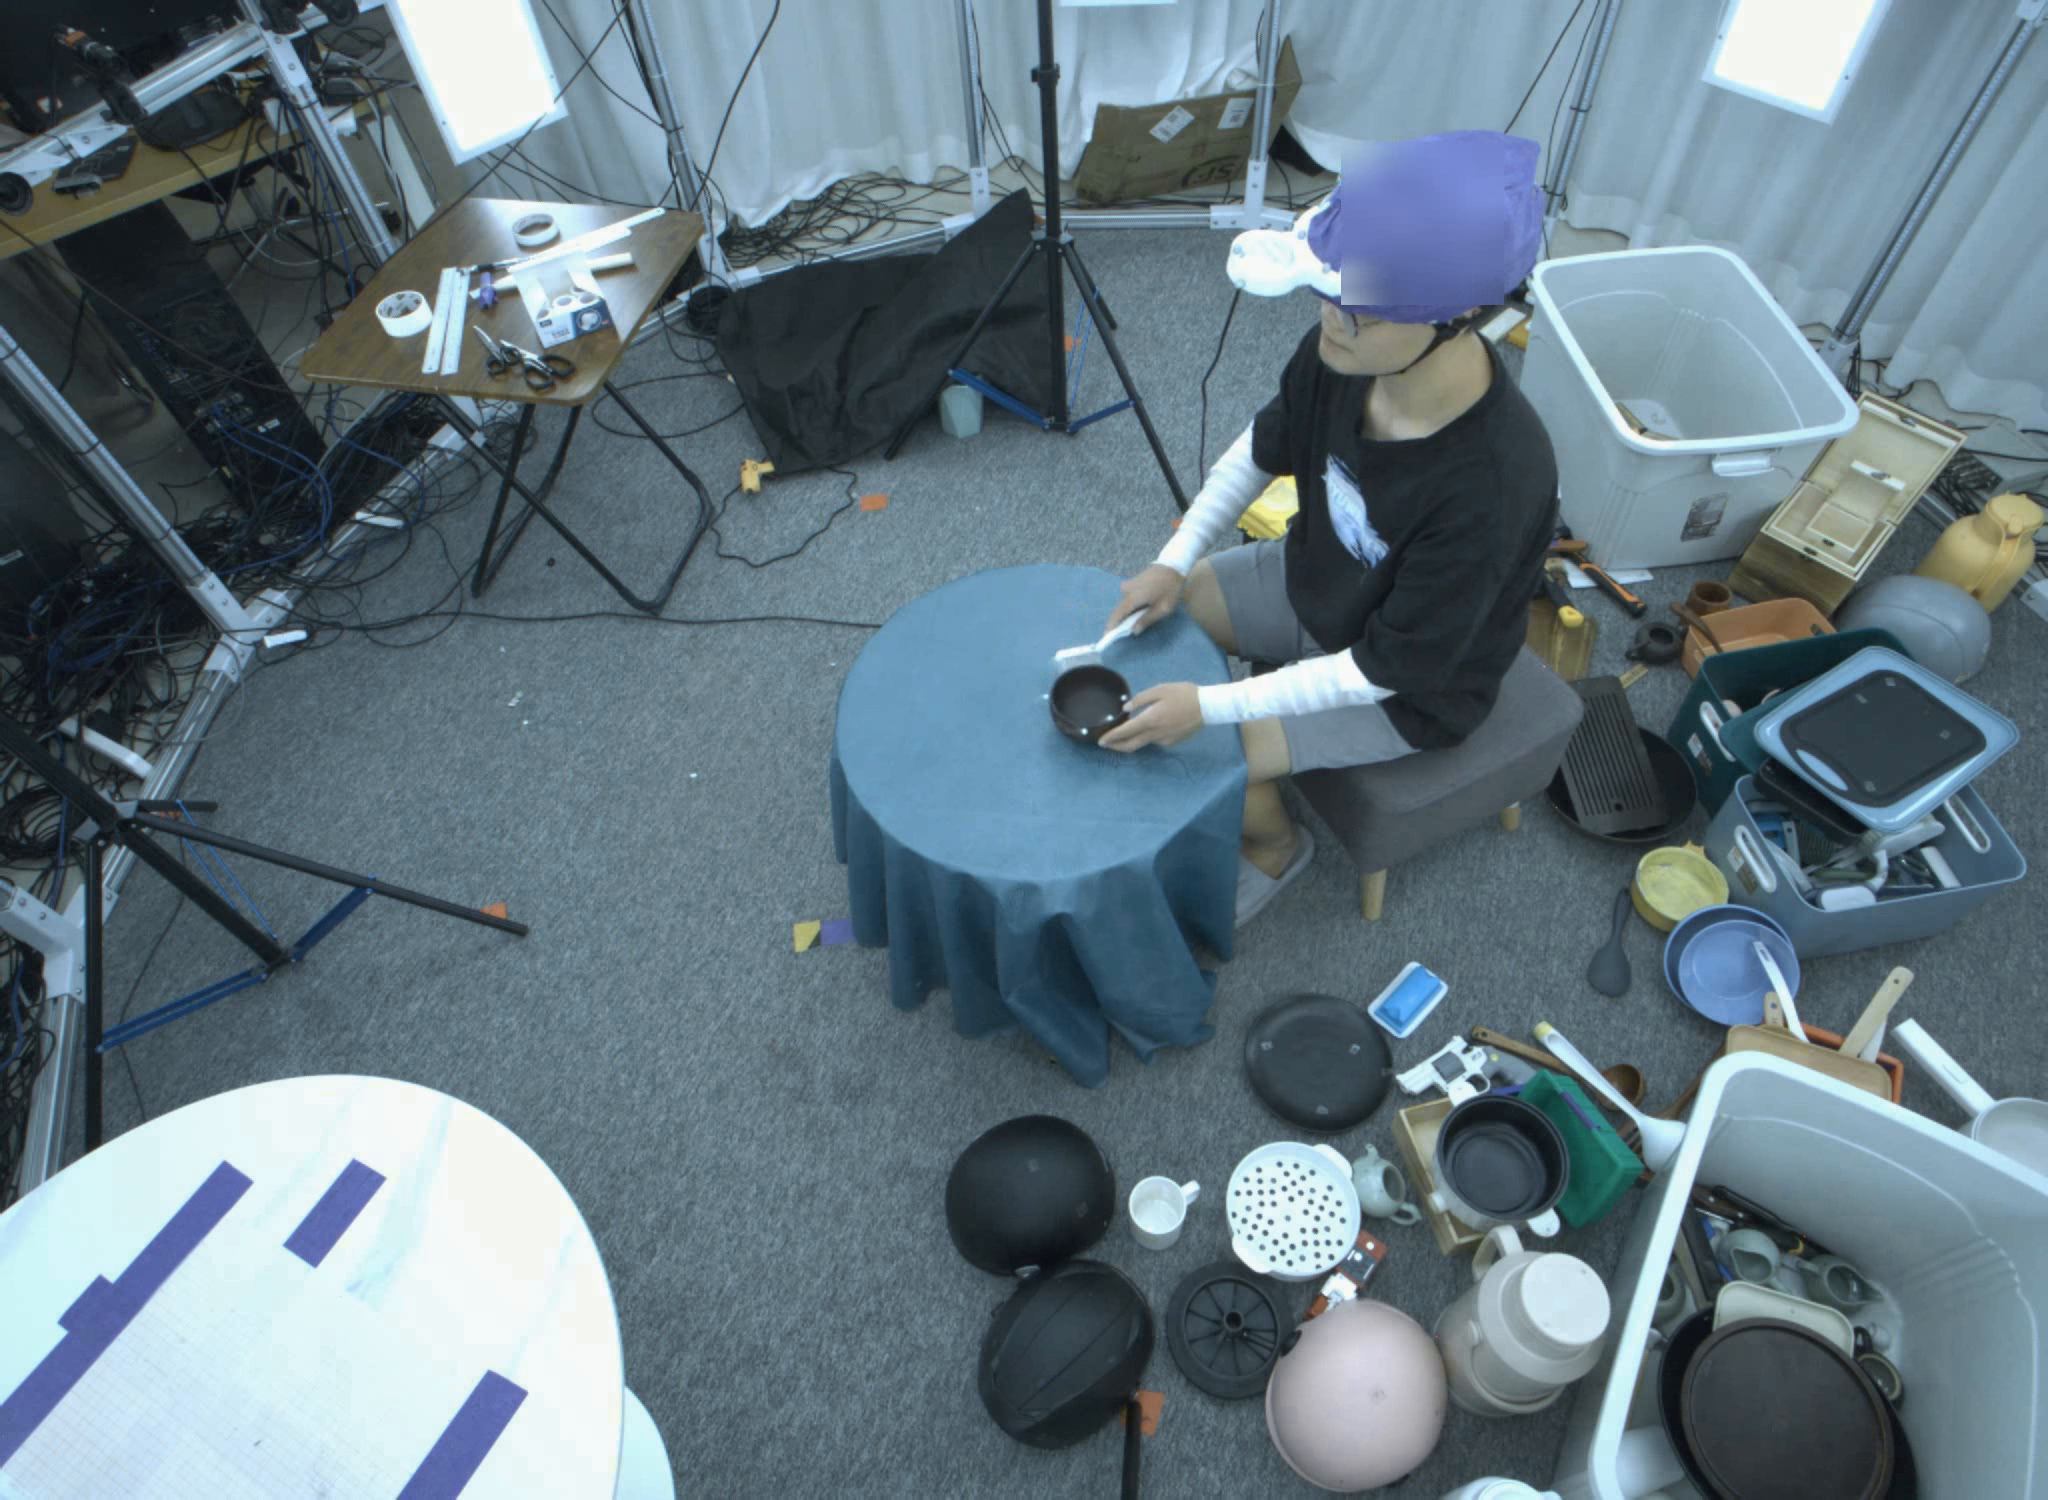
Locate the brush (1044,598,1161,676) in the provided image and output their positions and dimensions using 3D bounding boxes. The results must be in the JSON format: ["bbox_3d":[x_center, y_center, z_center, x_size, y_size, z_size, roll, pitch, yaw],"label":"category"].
[{"bbox_3d":[0.129,-0.169,1.852,0.246,0.034,0.049,-28,68,-30],"label":"brush"}]

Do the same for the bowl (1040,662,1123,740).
[{"bbox_3d":[0.083,-0.062,1.775,0.118,0.070,0.117,0,53,1],"label":"bowl"}]
